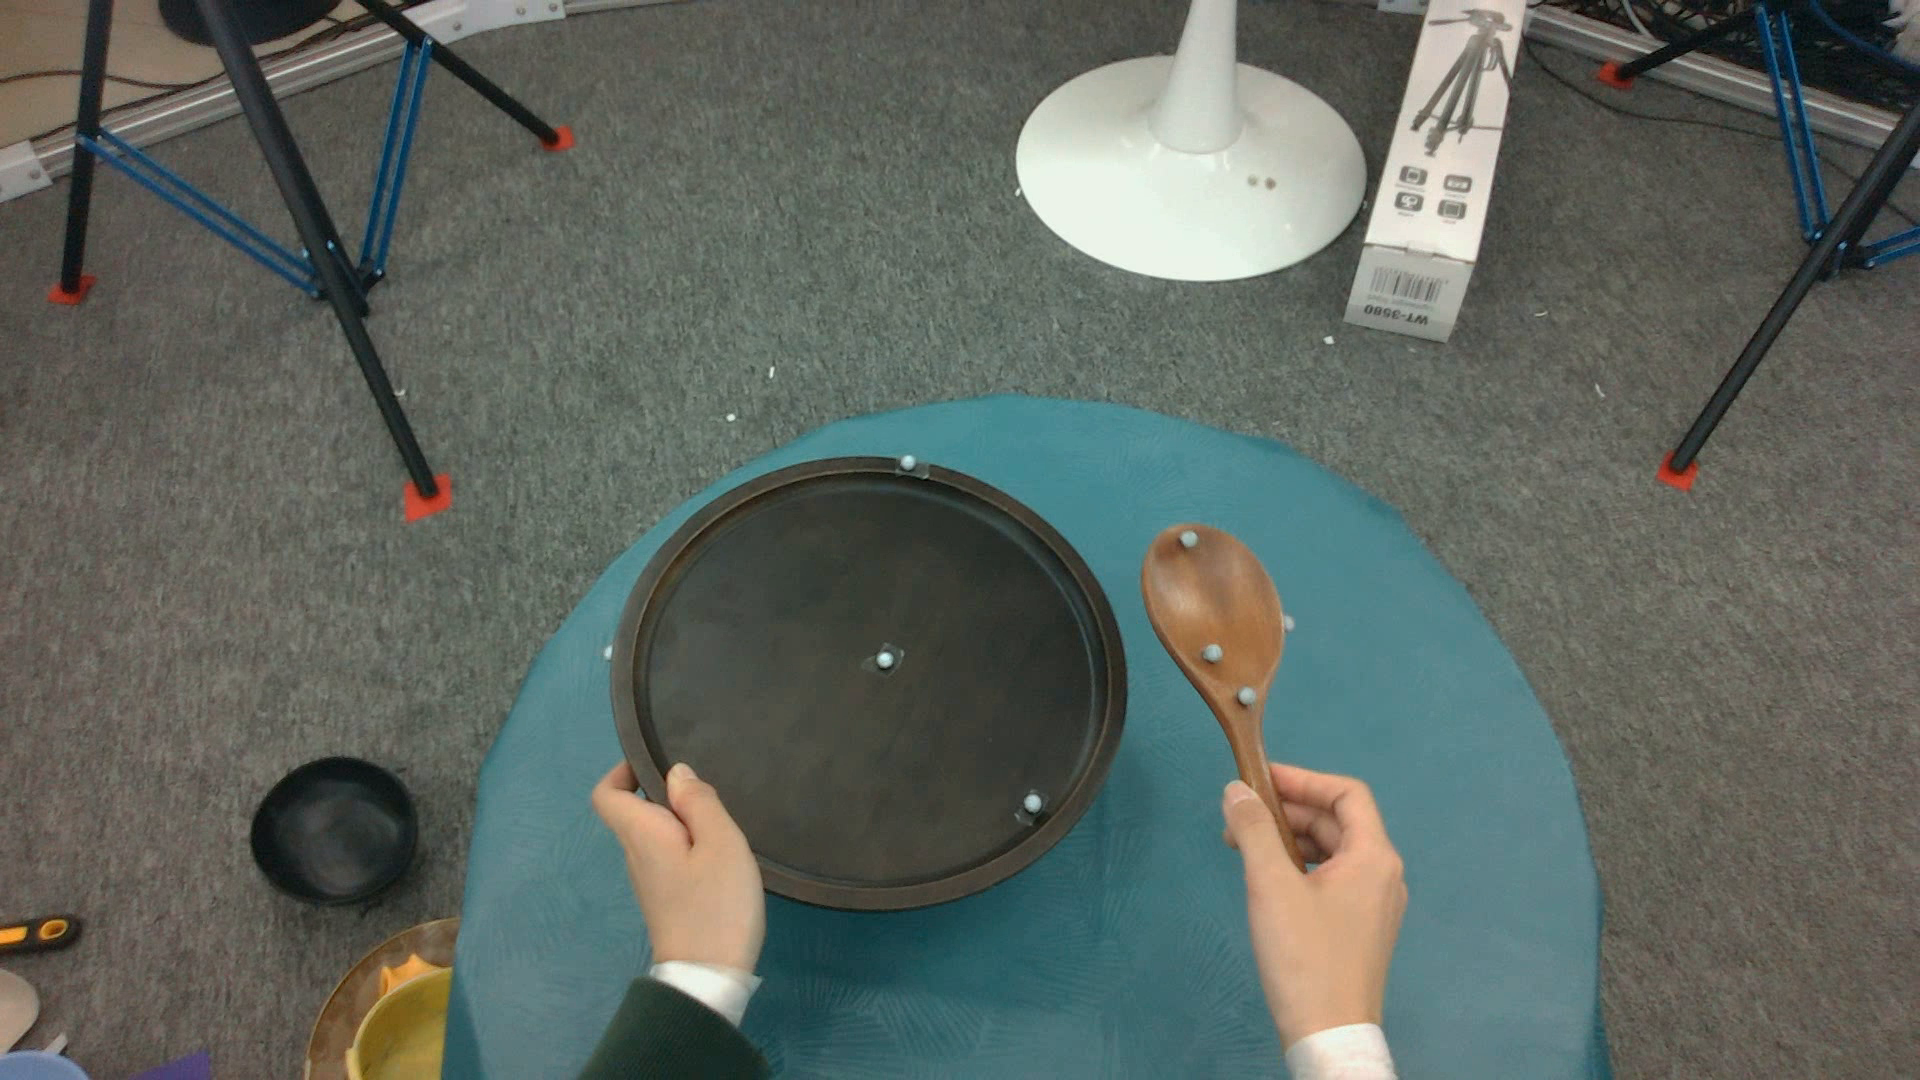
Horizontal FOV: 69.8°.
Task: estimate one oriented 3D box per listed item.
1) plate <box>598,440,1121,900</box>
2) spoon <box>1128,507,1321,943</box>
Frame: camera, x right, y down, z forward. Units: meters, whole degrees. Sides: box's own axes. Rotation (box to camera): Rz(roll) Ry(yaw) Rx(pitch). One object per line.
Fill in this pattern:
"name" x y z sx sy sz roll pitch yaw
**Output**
"plate" -0.047 0.056 0.678 0.255 0.029 0.256 4 54 -5
"spoon" 0.123 0.077 0.629 0.075 0.017 0.216 4 54 -22
